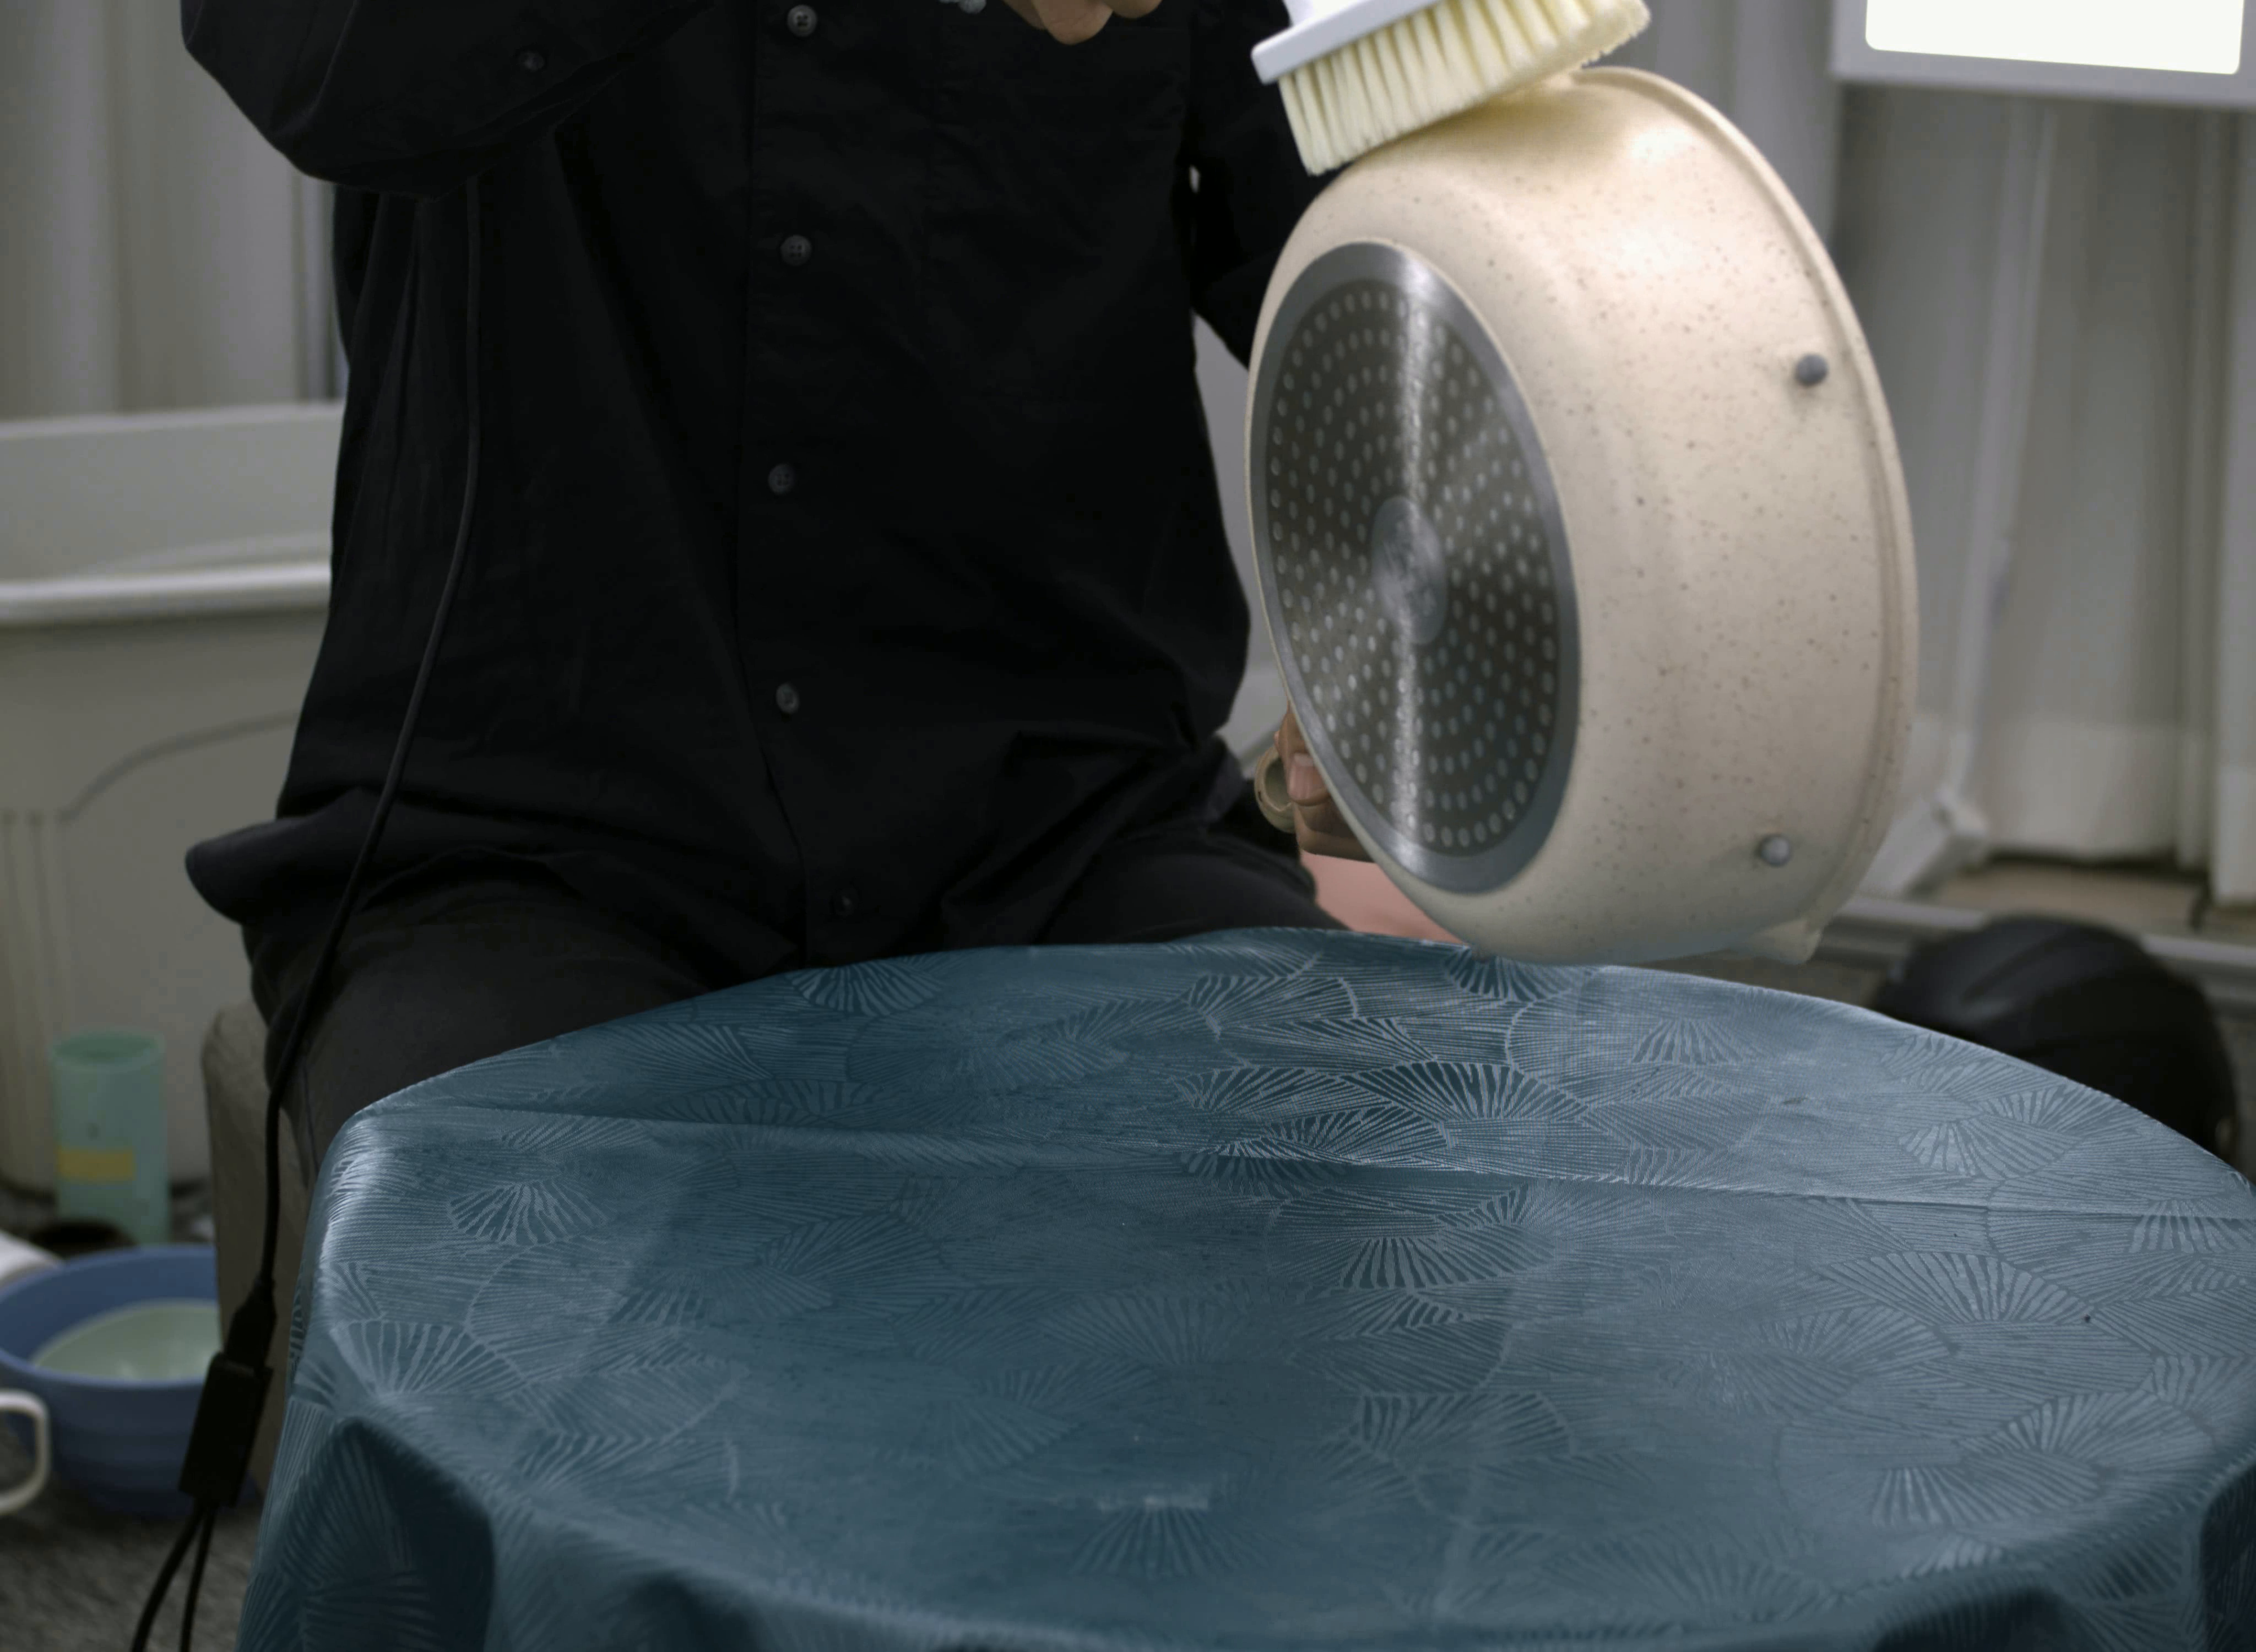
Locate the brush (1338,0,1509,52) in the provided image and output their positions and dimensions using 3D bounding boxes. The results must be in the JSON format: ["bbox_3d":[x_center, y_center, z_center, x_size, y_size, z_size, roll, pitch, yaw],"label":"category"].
[{"bbox_3d":[0.057,-0.258,1.525,0.084,0.084,0.322,20,-6,-33],"label":"brush"}]

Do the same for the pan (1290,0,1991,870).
[{"bbox_3d":[0.106,-0.084,1.556,0.102,0.263,0.434,-15,-8,-25],"label":"pan"}]
